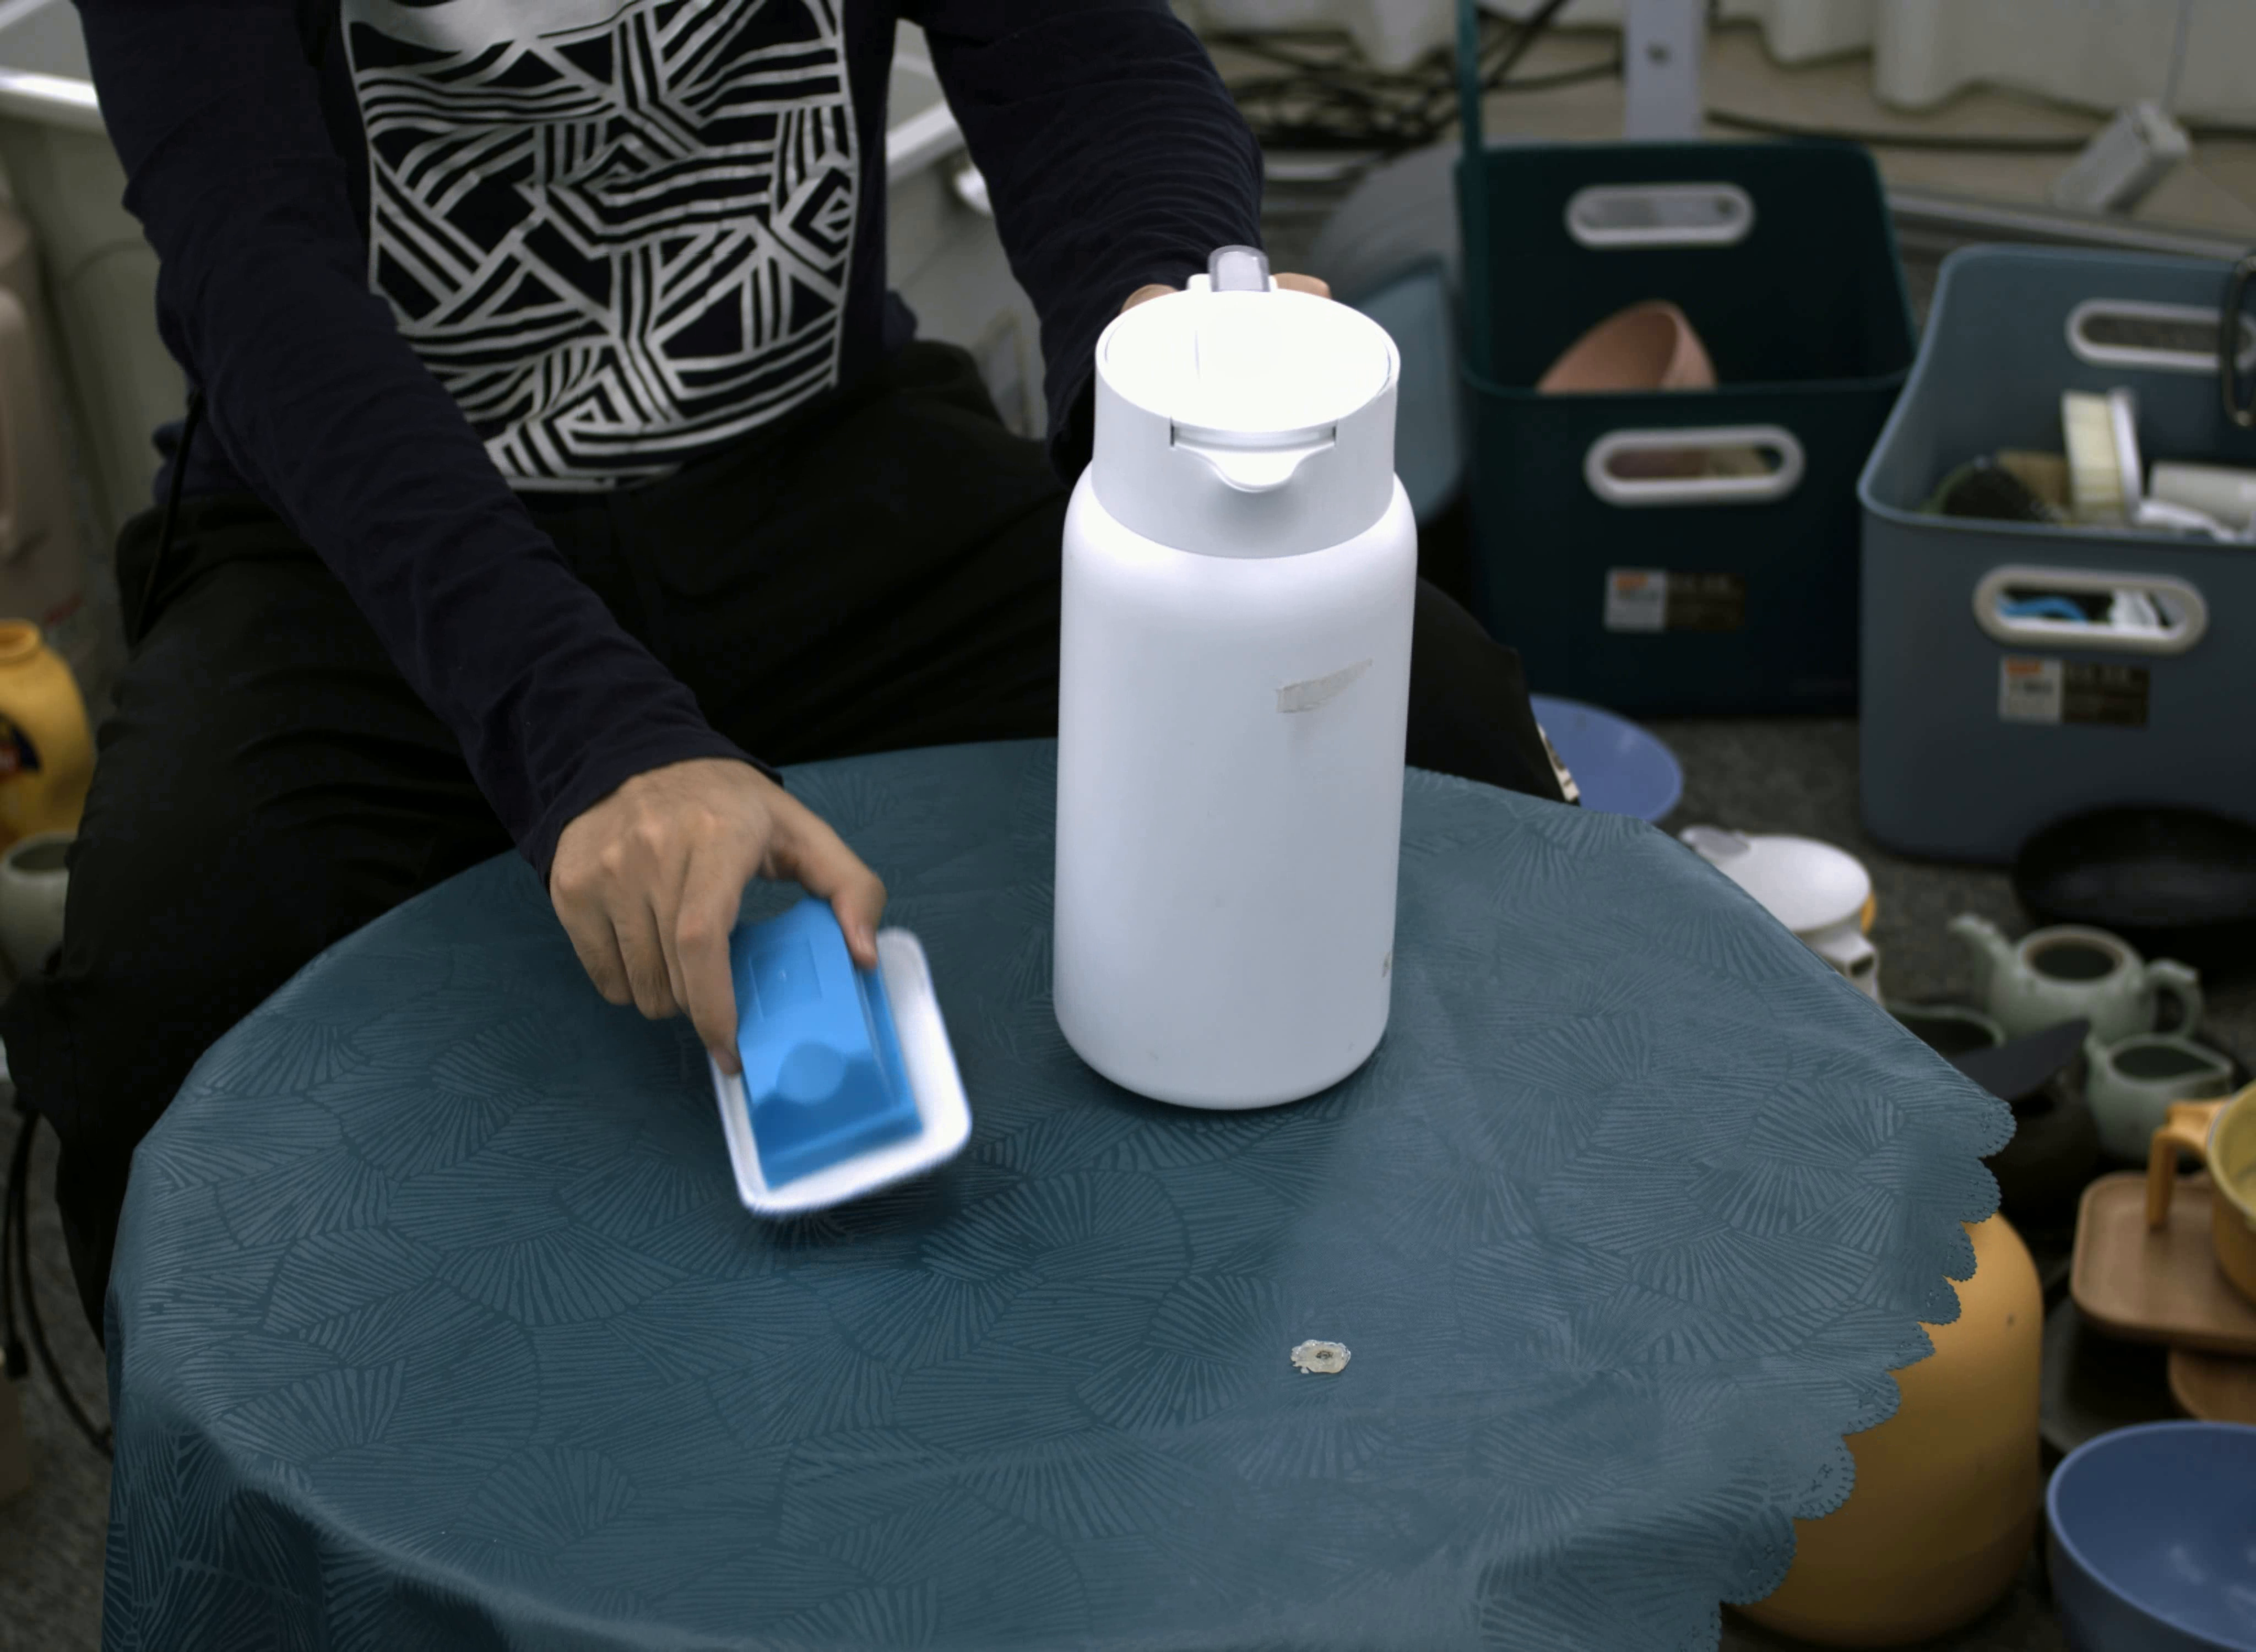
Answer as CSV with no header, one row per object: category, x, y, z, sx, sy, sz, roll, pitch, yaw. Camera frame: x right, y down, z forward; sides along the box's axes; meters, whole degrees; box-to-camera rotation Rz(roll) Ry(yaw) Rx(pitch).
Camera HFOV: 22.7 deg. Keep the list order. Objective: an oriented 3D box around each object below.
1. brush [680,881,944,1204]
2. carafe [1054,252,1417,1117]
brush,-0.108,0.067,1.882,0.083,0.055,0.146,-14,34,-1
carafe,0.033,-0.051,1.890,0.123,0.265,0.175,-3,31,-3
